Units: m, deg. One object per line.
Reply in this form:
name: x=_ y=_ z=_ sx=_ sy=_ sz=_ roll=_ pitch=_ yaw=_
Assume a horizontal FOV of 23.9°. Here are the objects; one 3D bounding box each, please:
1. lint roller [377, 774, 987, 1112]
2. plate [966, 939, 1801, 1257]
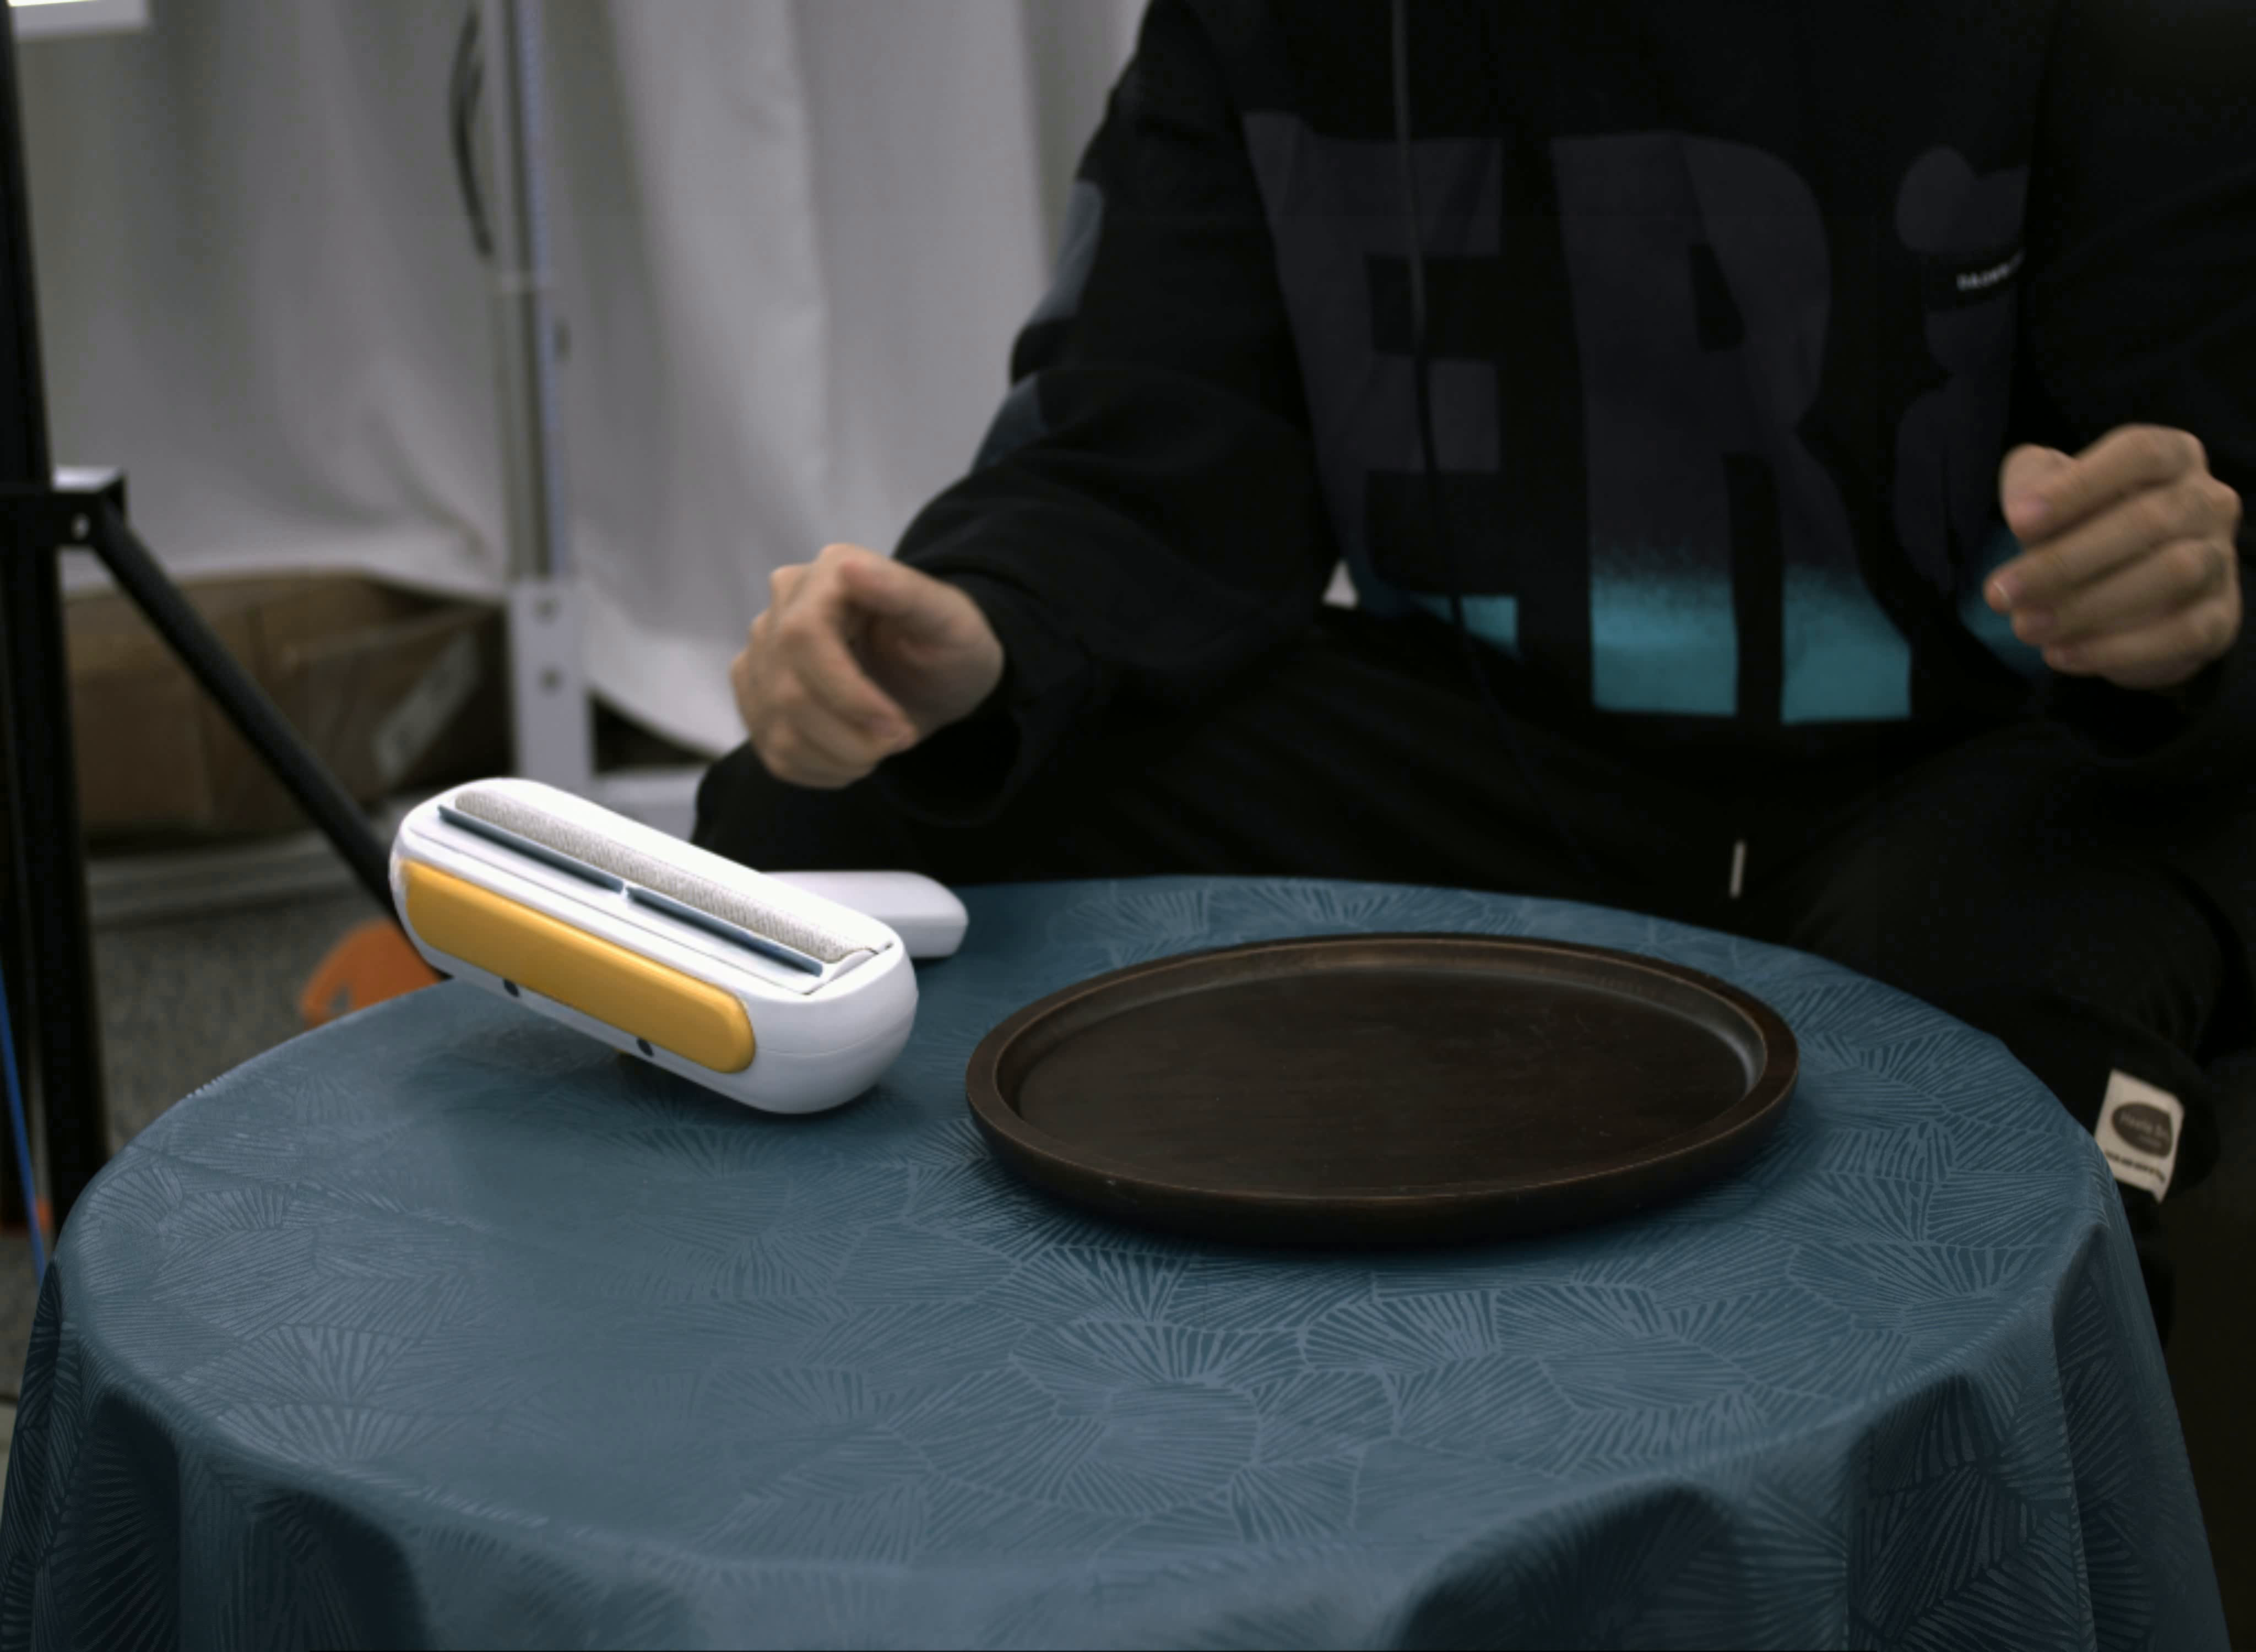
lint roller: x=-0.119 y=0.030 z=1.730 sx=0.197 sy=0.074 sz=0.188 roll=18 pitch=24 yaw=39
plate: x=0.077 y=0.080 z=1.603 sx=0.253 sy=0.029 sz=0.256 roll=-2 pitch=15 yaw=-1
